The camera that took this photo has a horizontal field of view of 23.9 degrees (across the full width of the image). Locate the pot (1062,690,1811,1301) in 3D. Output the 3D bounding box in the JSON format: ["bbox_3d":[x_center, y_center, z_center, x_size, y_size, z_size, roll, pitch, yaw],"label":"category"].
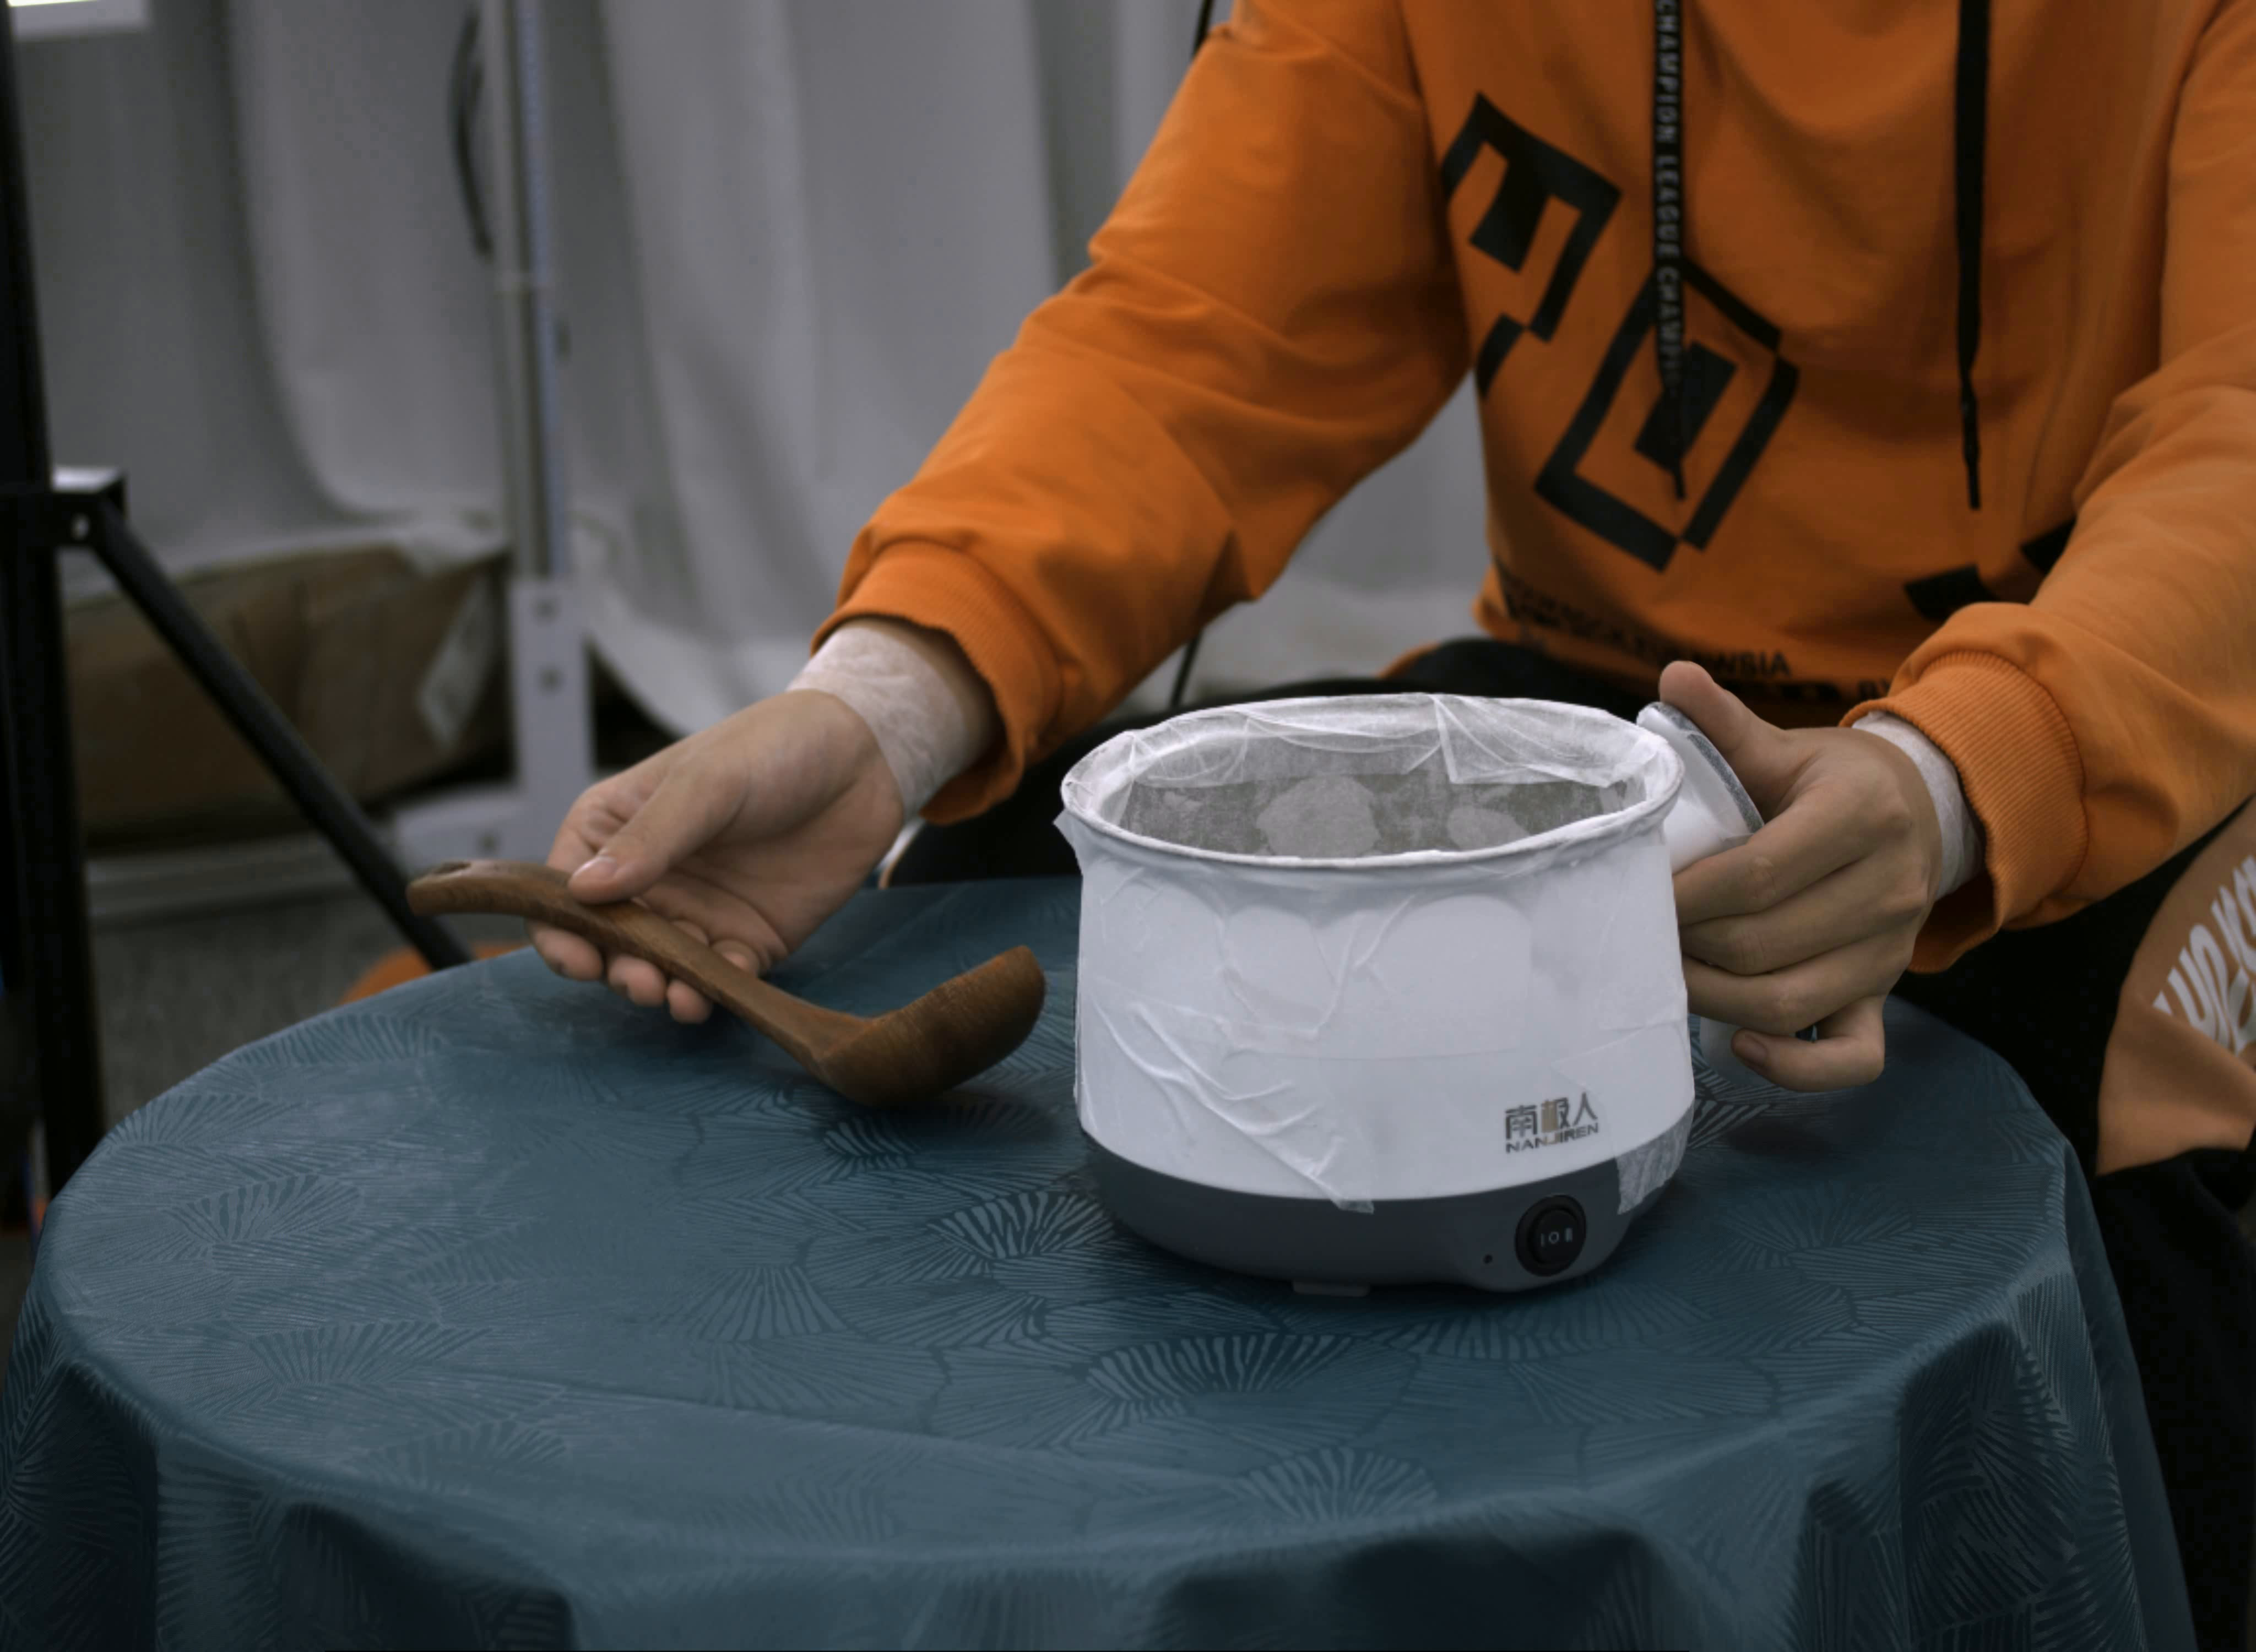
[{"bbox_3d":[0.095,0.042,1.524,0.228,0.136,0.182,-11,18,-28],"label":"pot"}]

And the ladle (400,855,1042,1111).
[{"bbox_3d":[-0.136,0.033,1.690,0.266,0.065,0.075,22,25,36],"label":"ladle"}]
